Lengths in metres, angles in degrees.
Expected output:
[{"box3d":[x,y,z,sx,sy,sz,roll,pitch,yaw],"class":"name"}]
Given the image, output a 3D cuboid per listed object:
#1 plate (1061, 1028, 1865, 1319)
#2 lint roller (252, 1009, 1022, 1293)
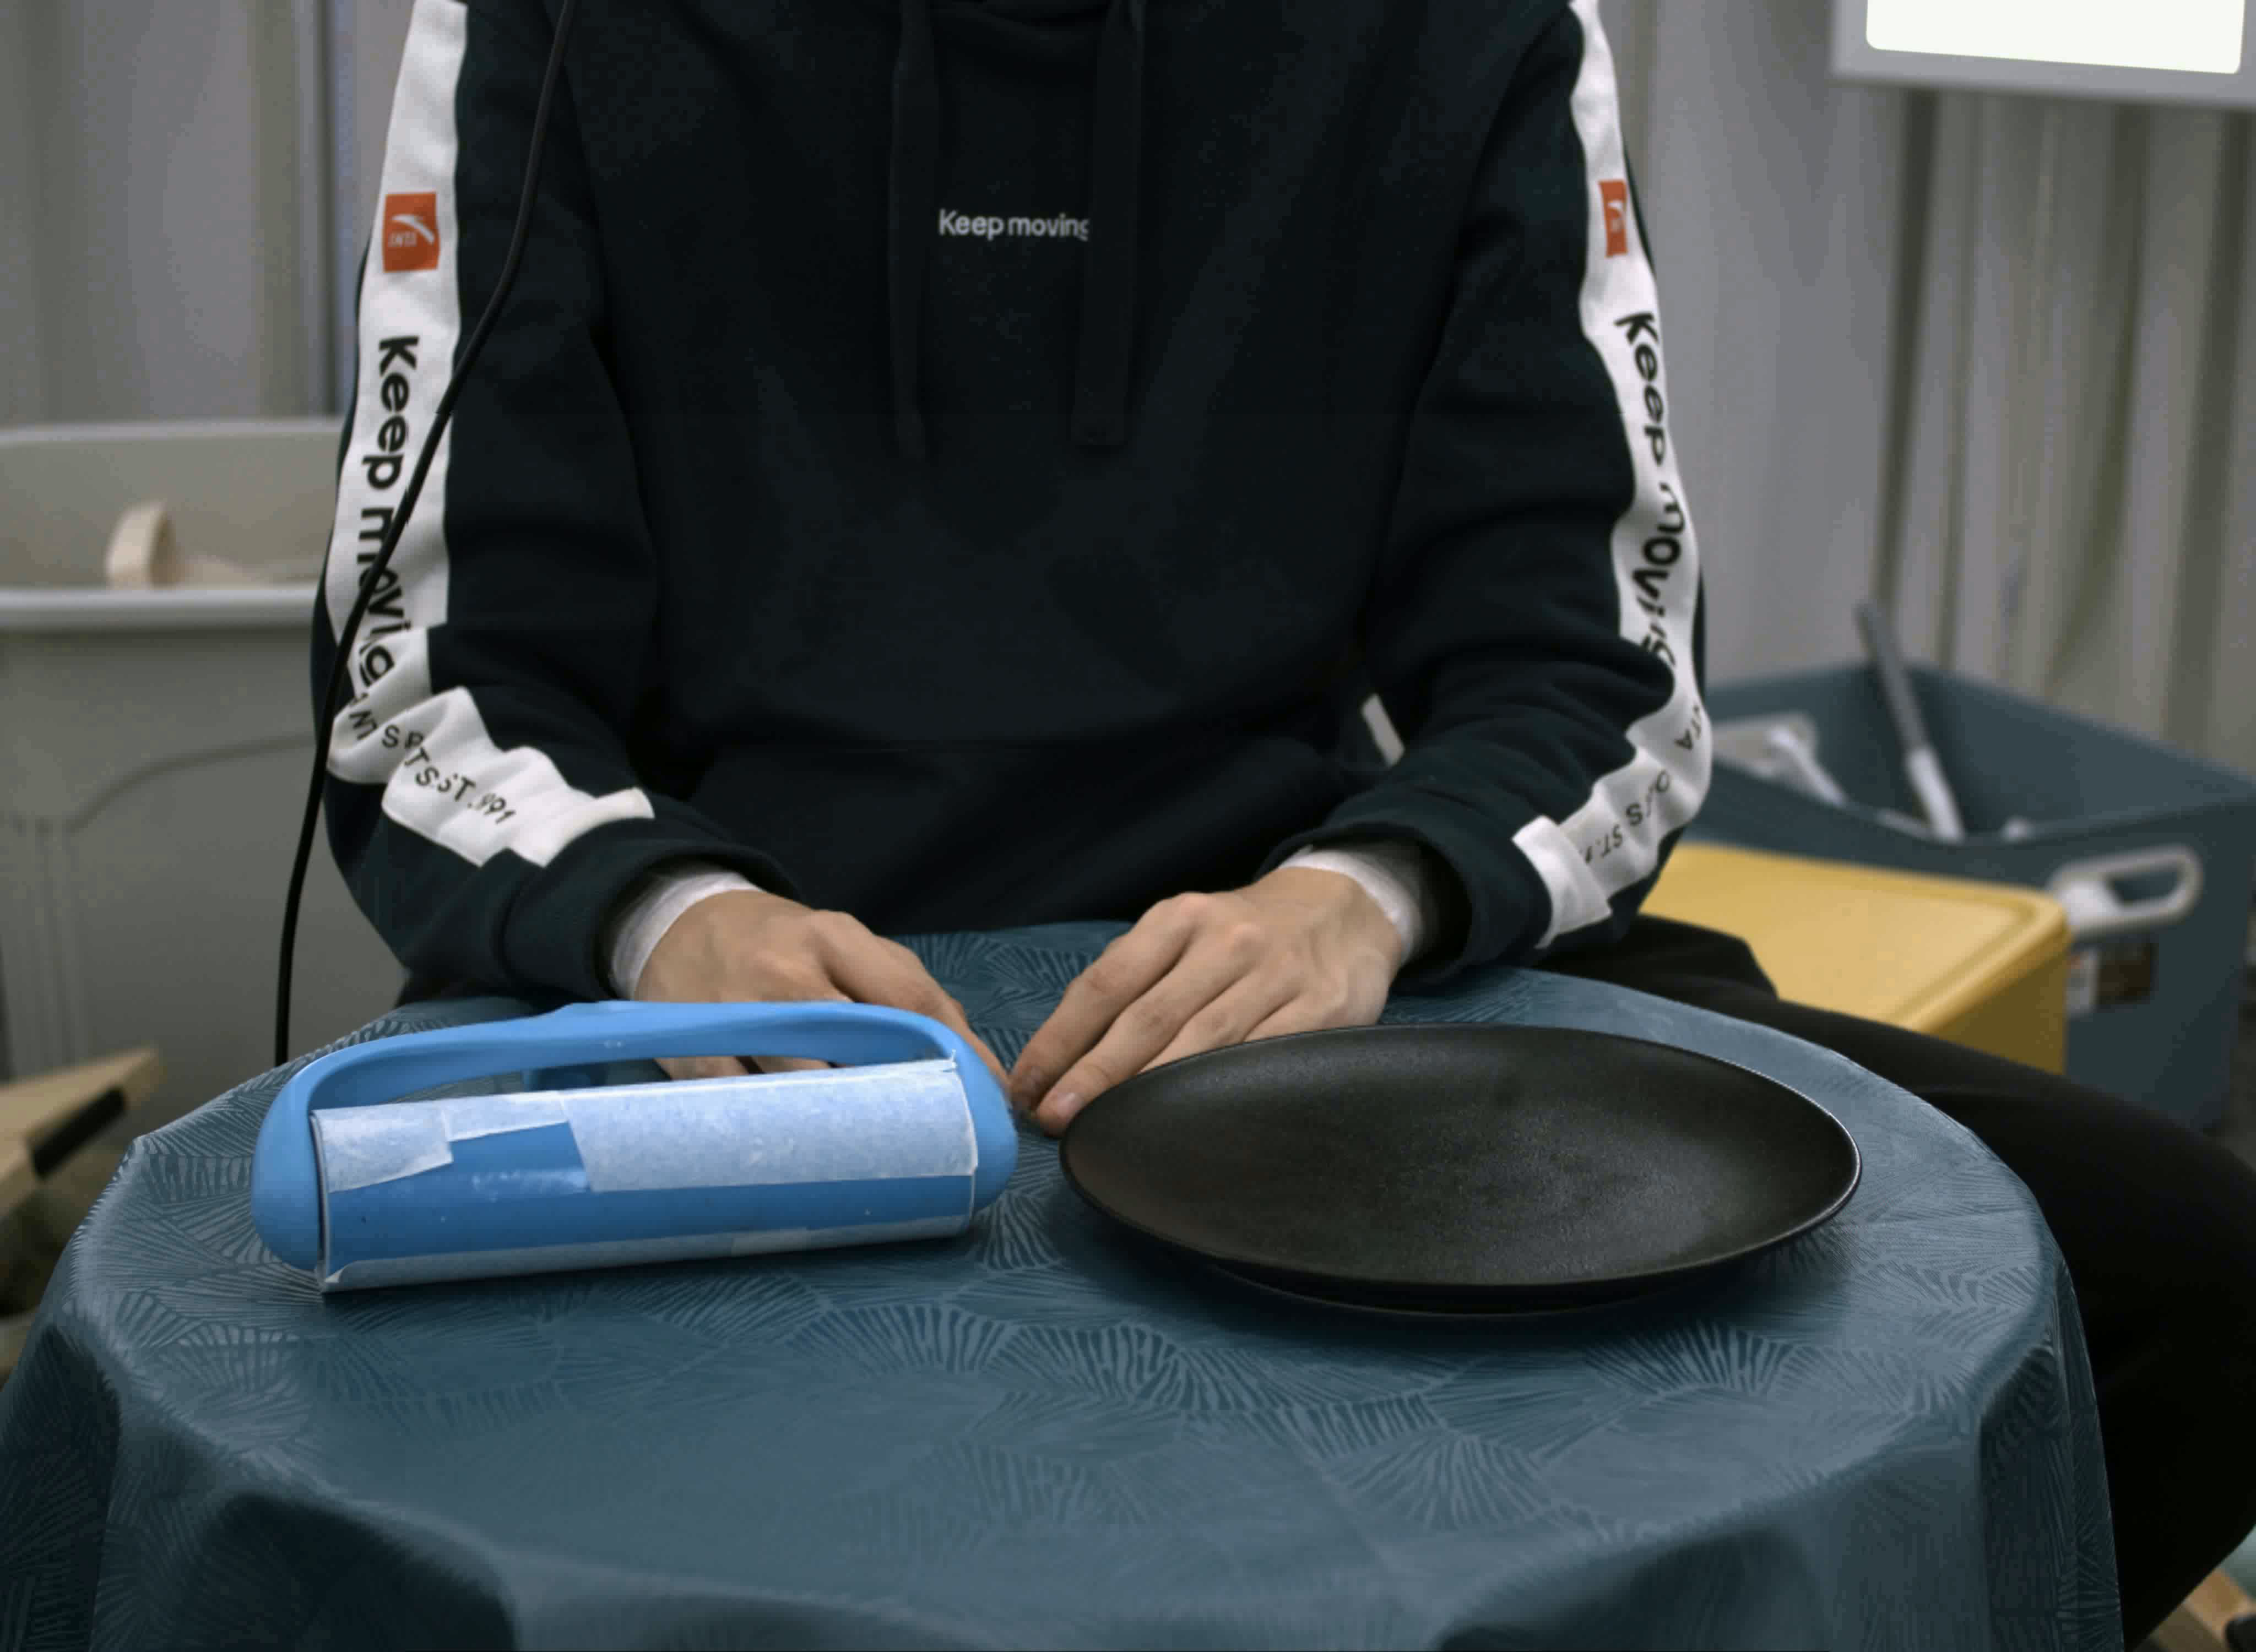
[{"box3d":[0.101,0.107,1.598,0.243,0.023,0.243,1,15,0],"class":"plate"},{"box3d":[-0.161,0.087,1.601,0.229,0.068,0.178,-5,16,-18],"class":"lint roller"}]
